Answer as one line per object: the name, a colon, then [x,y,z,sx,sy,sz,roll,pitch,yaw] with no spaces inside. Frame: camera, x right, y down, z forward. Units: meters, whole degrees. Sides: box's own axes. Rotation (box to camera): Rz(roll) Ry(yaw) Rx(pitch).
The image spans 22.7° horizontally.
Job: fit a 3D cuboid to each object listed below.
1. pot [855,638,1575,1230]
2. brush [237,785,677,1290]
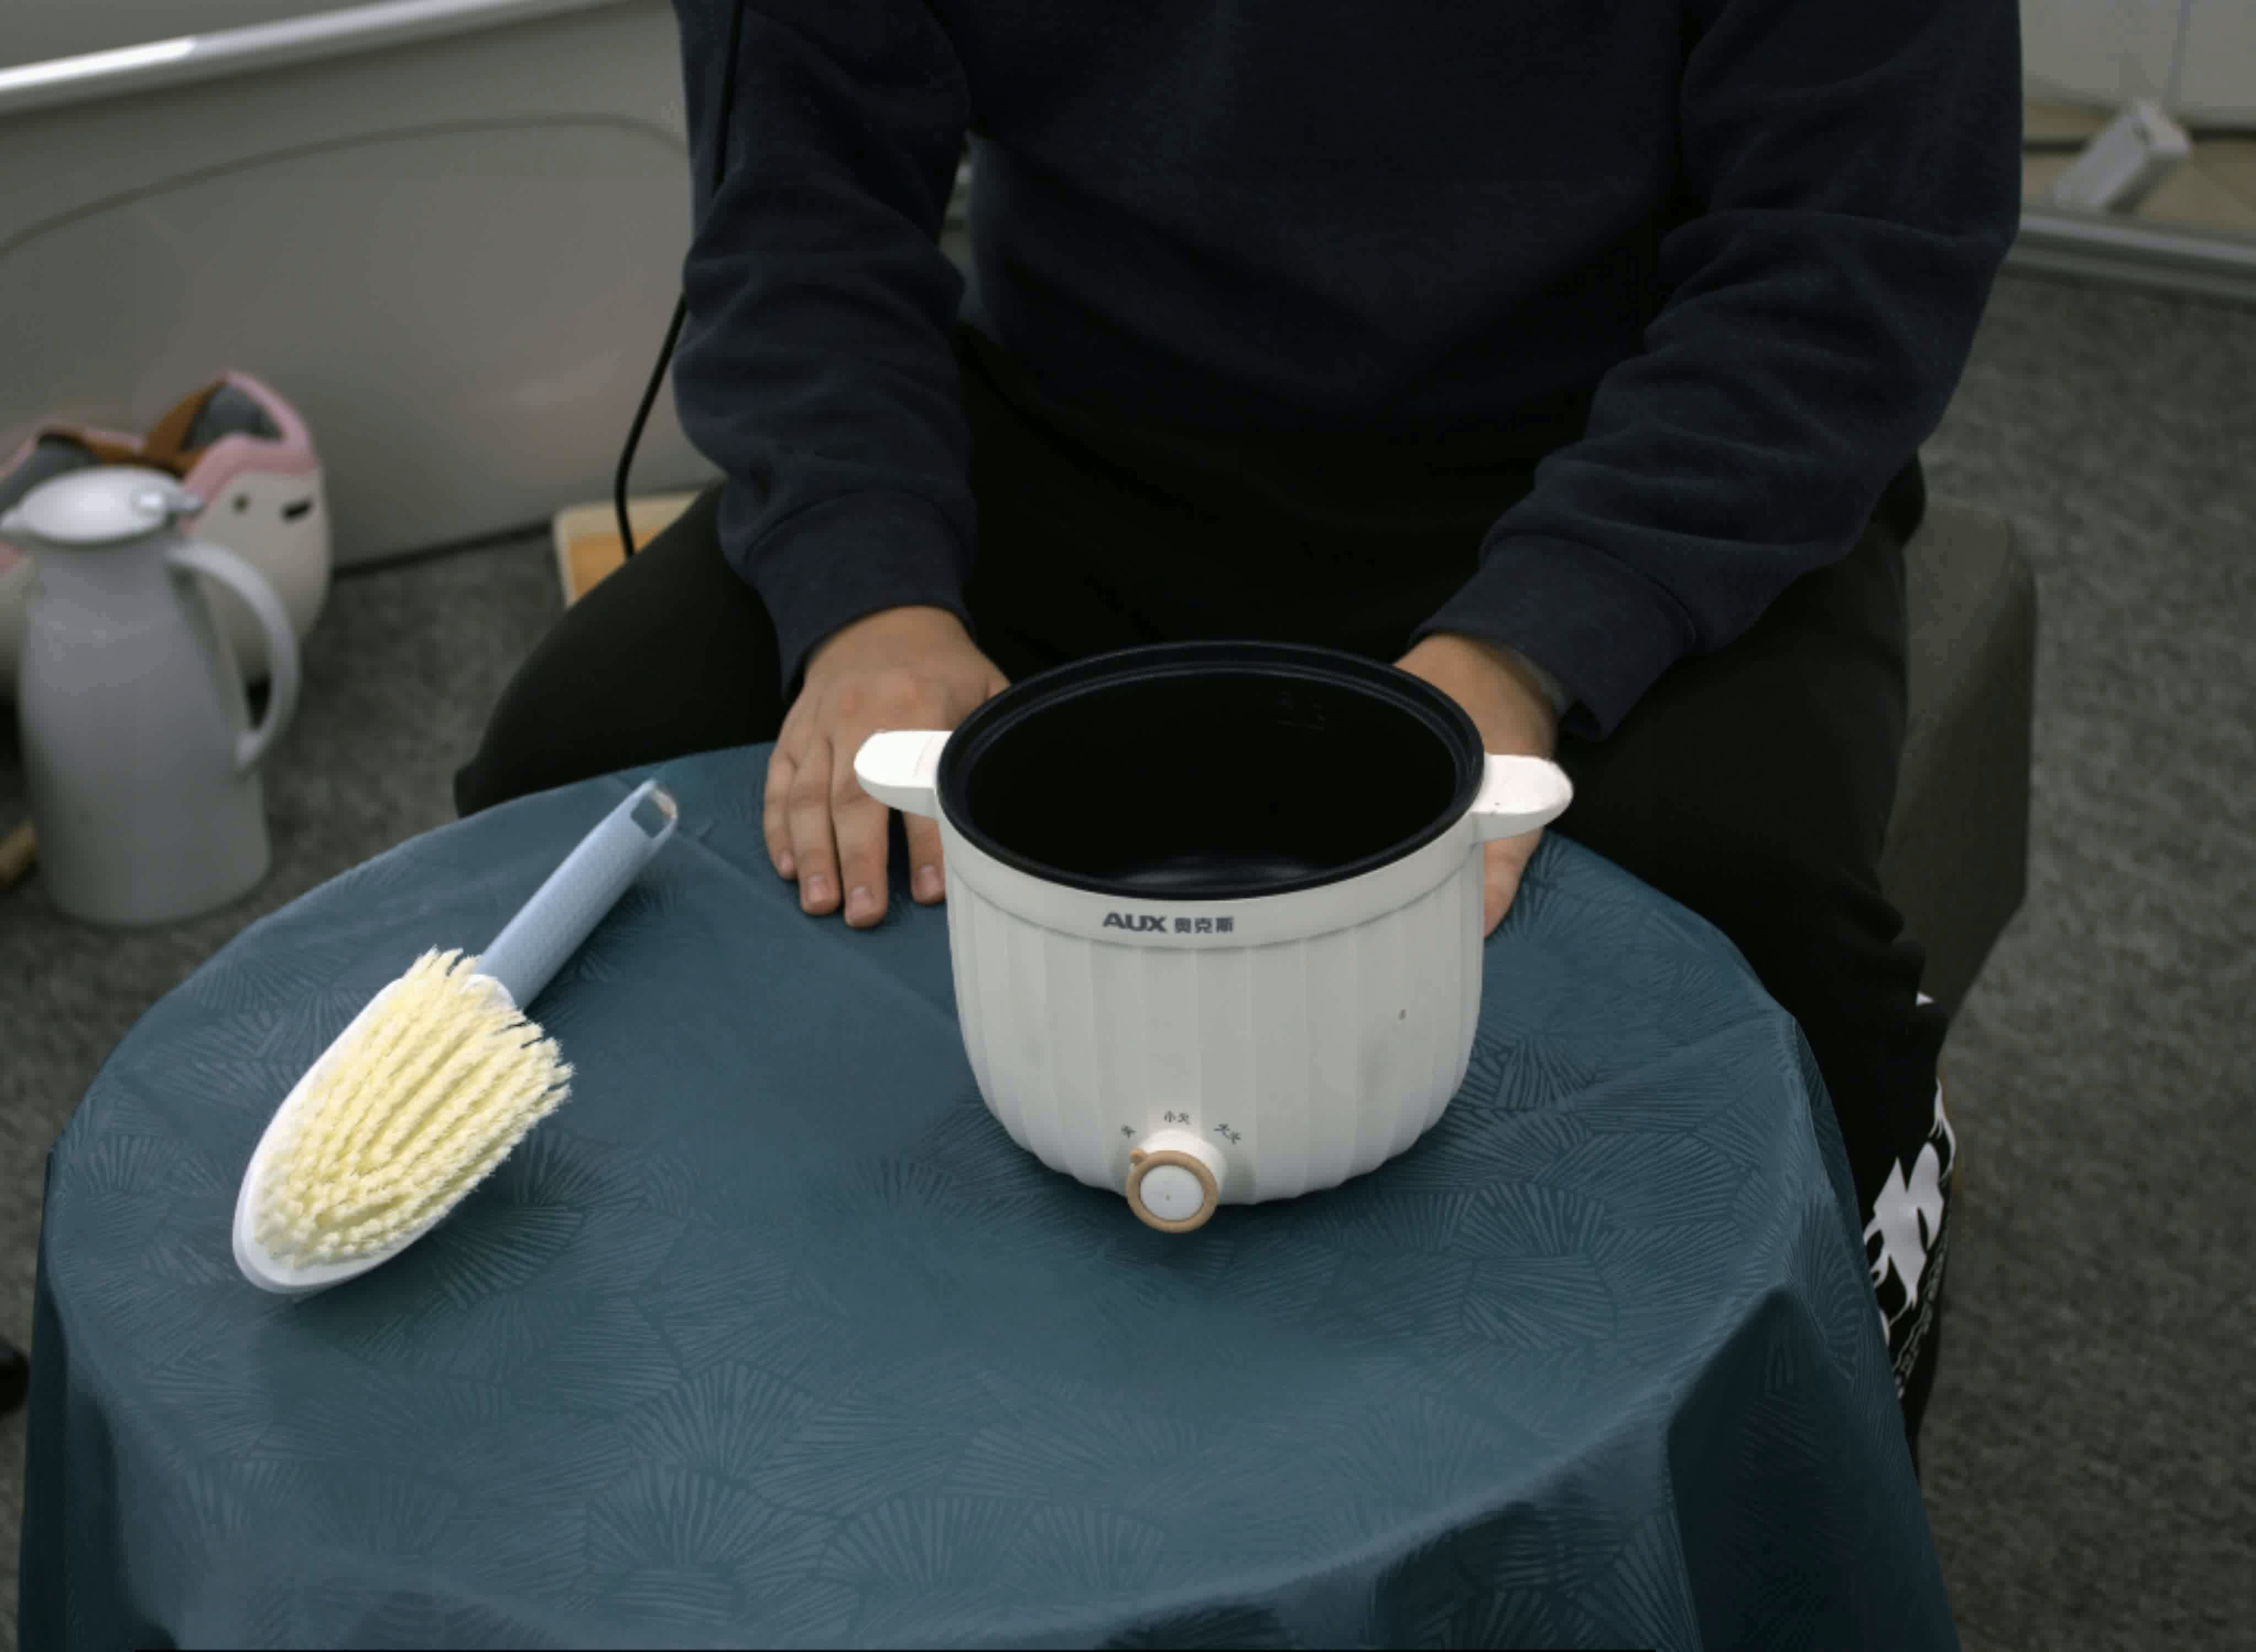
pot: [0.030,0.039,1.873,0.239,0.141,0.193,1,24,10]
brush: [-0.211,0.050,1.932,0.084,0.082,0.331,2,28,21]
